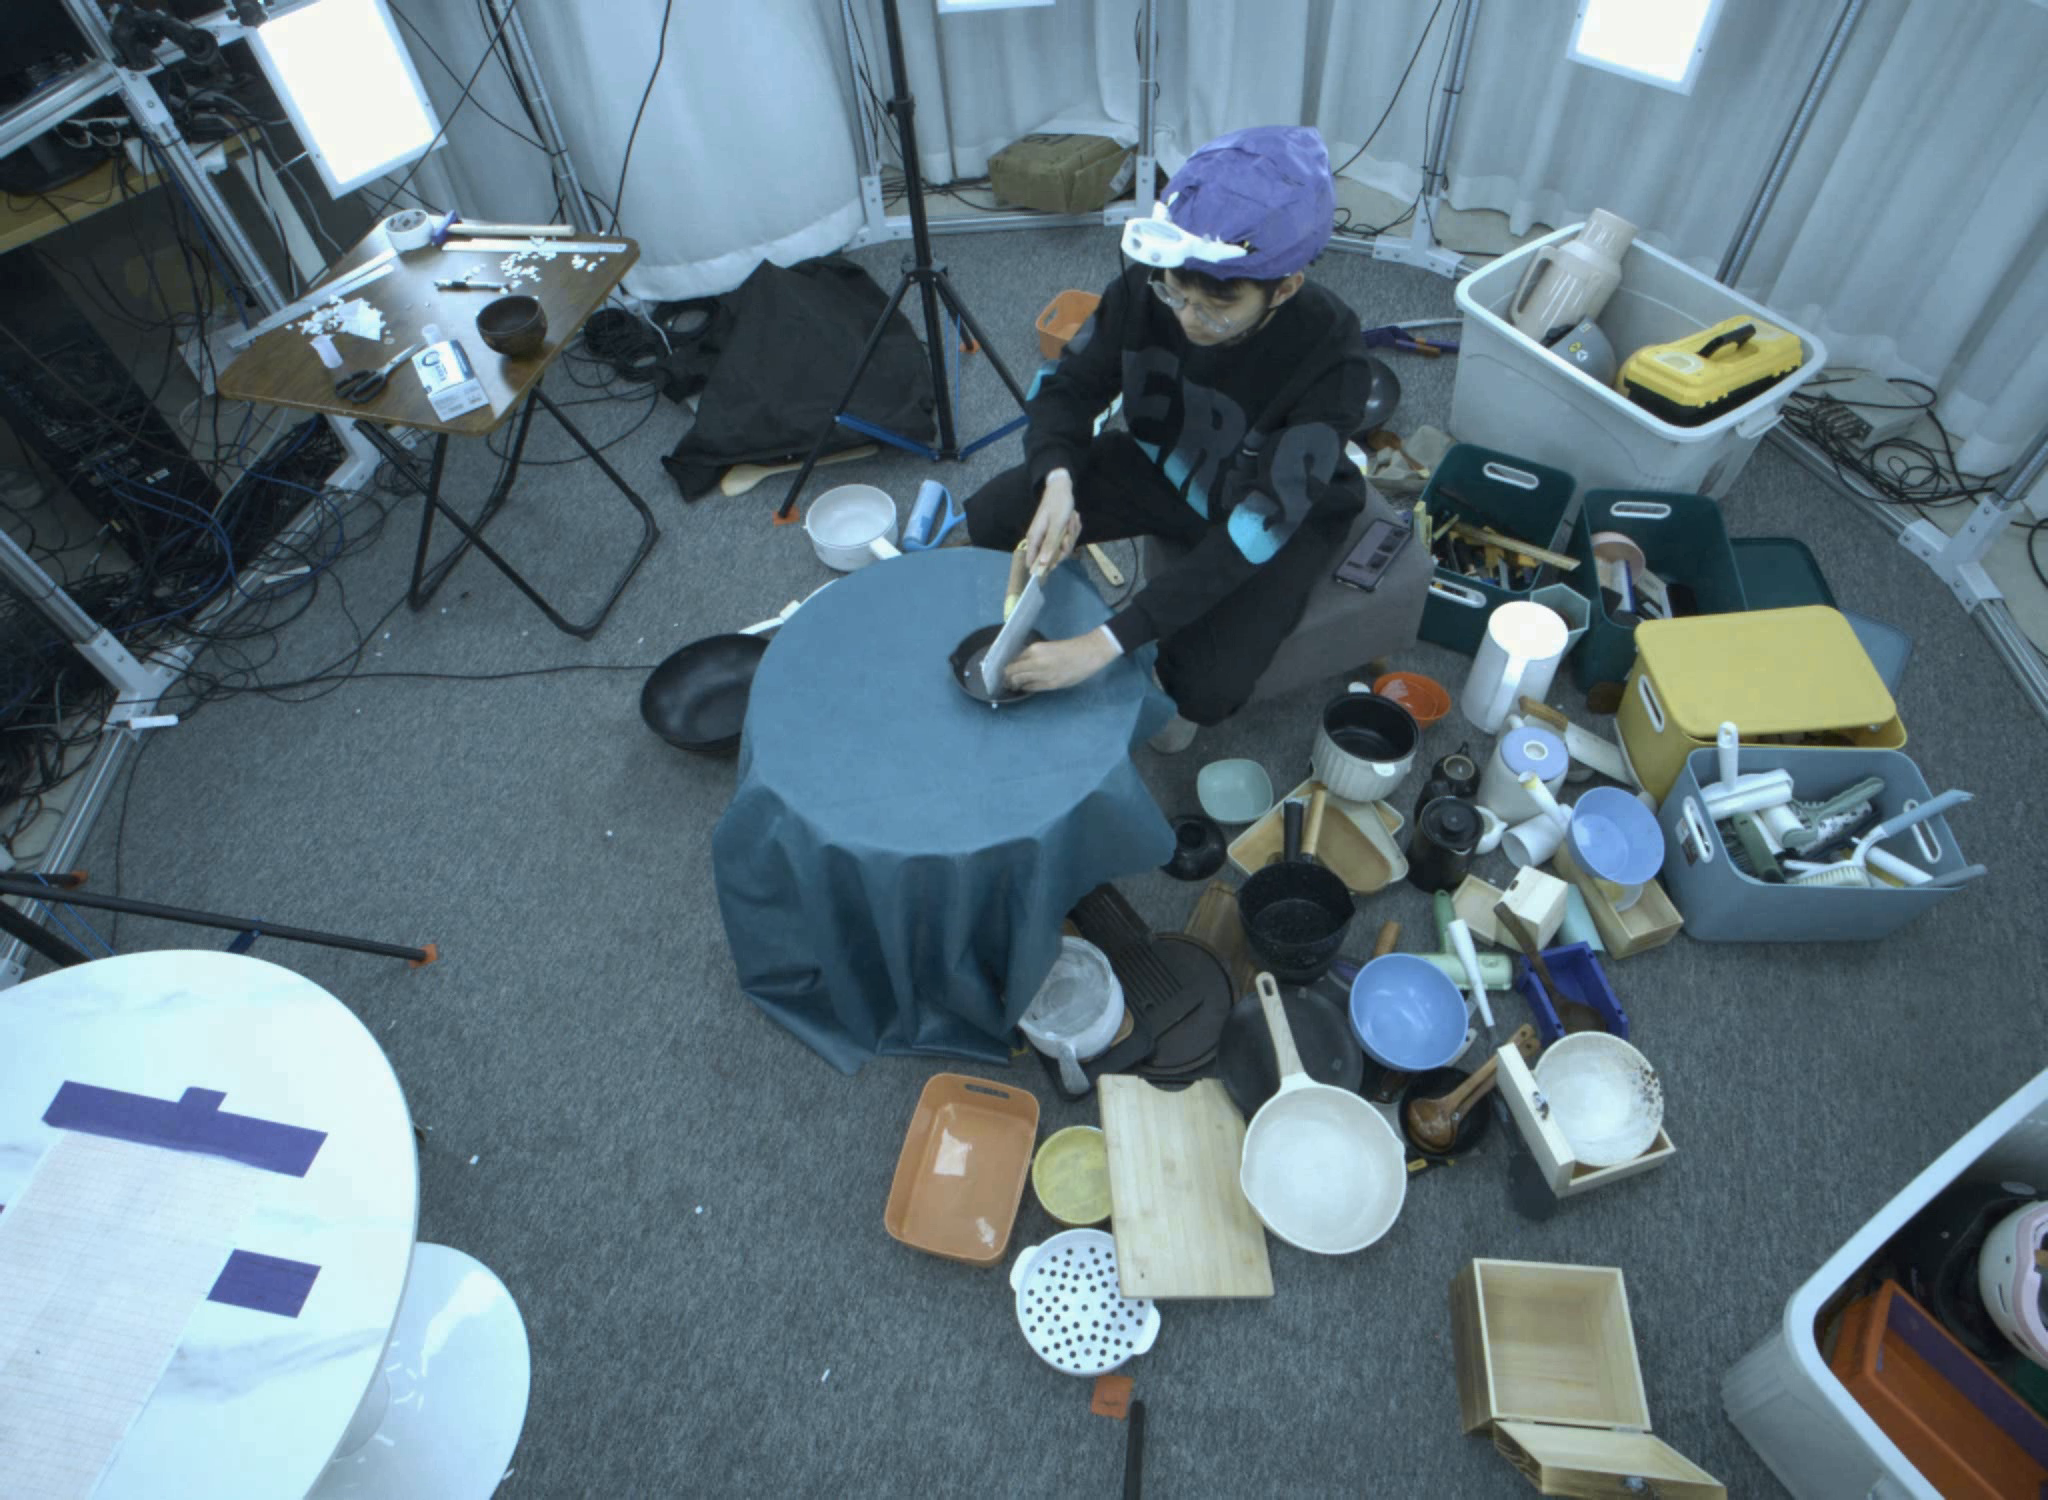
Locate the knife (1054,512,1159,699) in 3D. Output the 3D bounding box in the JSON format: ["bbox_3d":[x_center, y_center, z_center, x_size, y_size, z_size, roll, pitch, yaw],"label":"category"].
[{"bbox_3d":[0.120,-0.221,1.823,0.021,0.115,0.315,25,77,20],"label":"knife"}]

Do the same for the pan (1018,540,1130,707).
[{"bbox_3d":[0.093,-0.195,1.891,0.168,0.050,0.322,9,57,9],"label":"pan"}]
